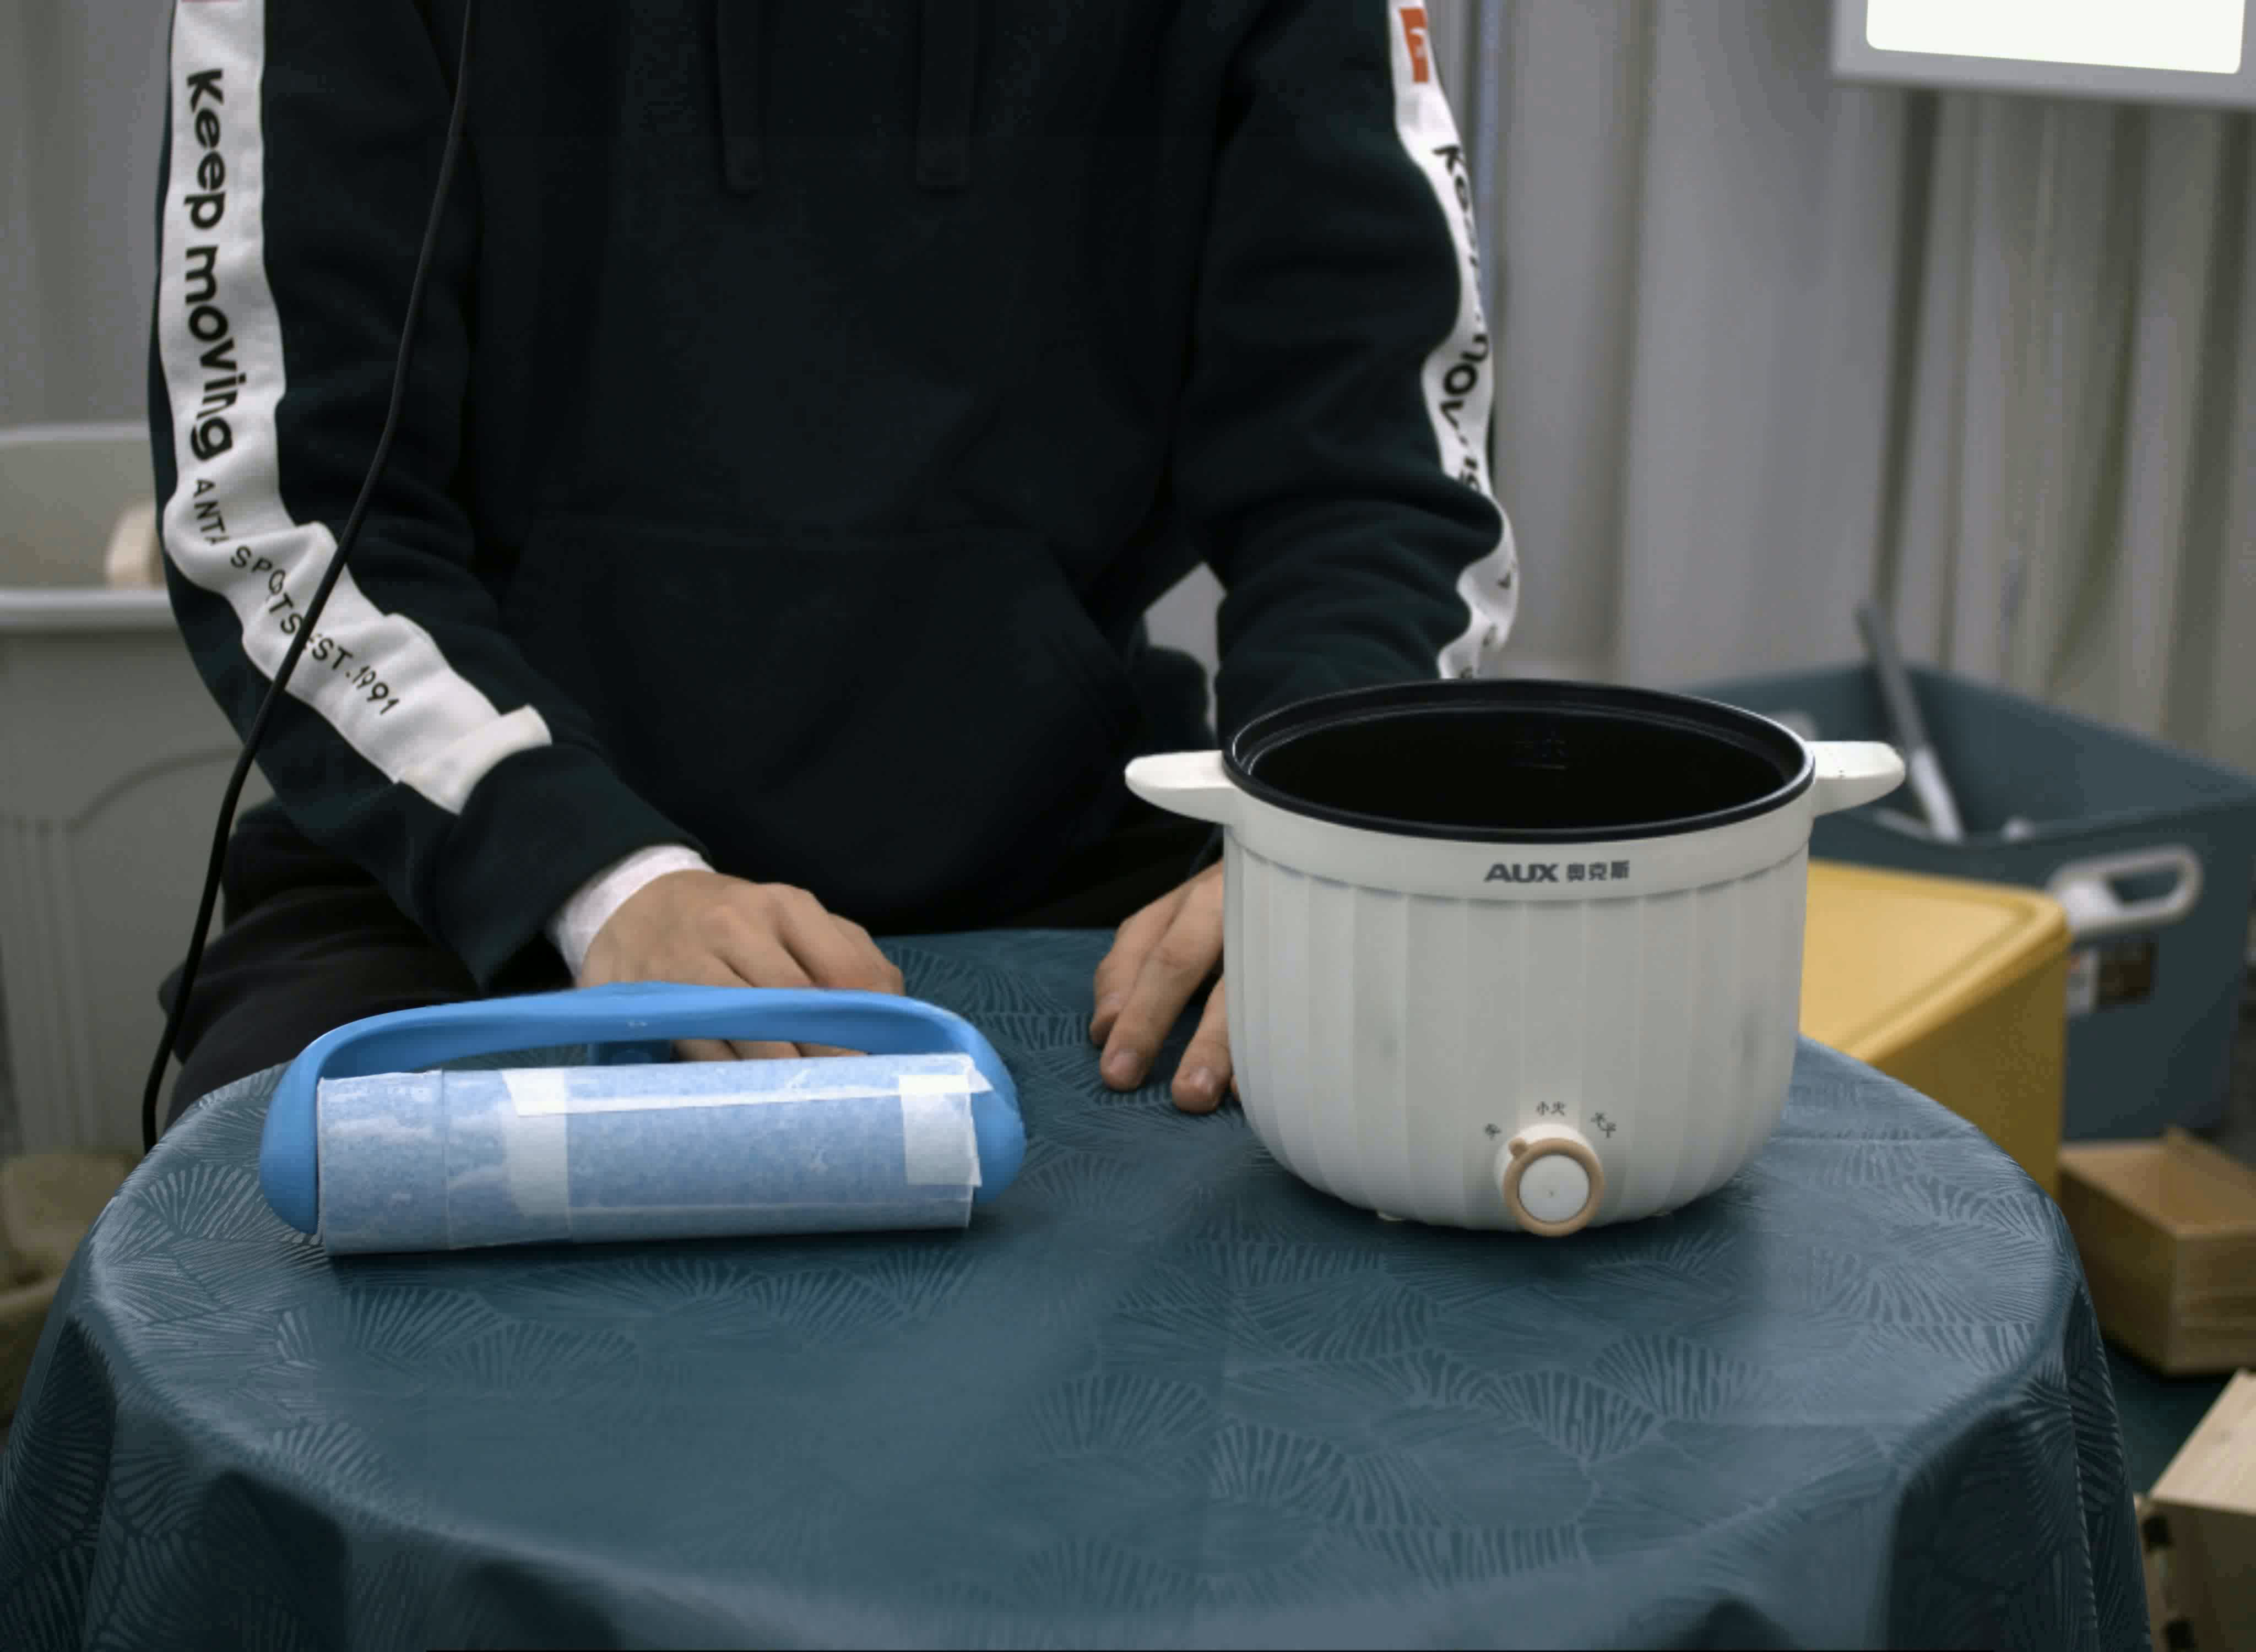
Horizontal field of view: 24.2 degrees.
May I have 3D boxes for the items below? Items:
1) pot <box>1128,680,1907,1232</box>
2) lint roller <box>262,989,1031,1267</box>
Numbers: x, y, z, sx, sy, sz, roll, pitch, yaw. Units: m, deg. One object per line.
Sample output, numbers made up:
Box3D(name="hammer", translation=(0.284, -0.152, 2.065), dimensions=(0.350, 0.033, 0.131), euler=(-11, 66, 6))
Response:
Box3D(name="pot", translation=(0.121, 0.042, 1.616), dimensions=(0.240, 0.144, 0.189), euler=(-2, 13, -5))
Box3D(name="lint roller", translation=(-0.153, 0.081, 1.623), dimensions=(0.229, 0.068, 0.178), euler=(-4, 18, -10))
